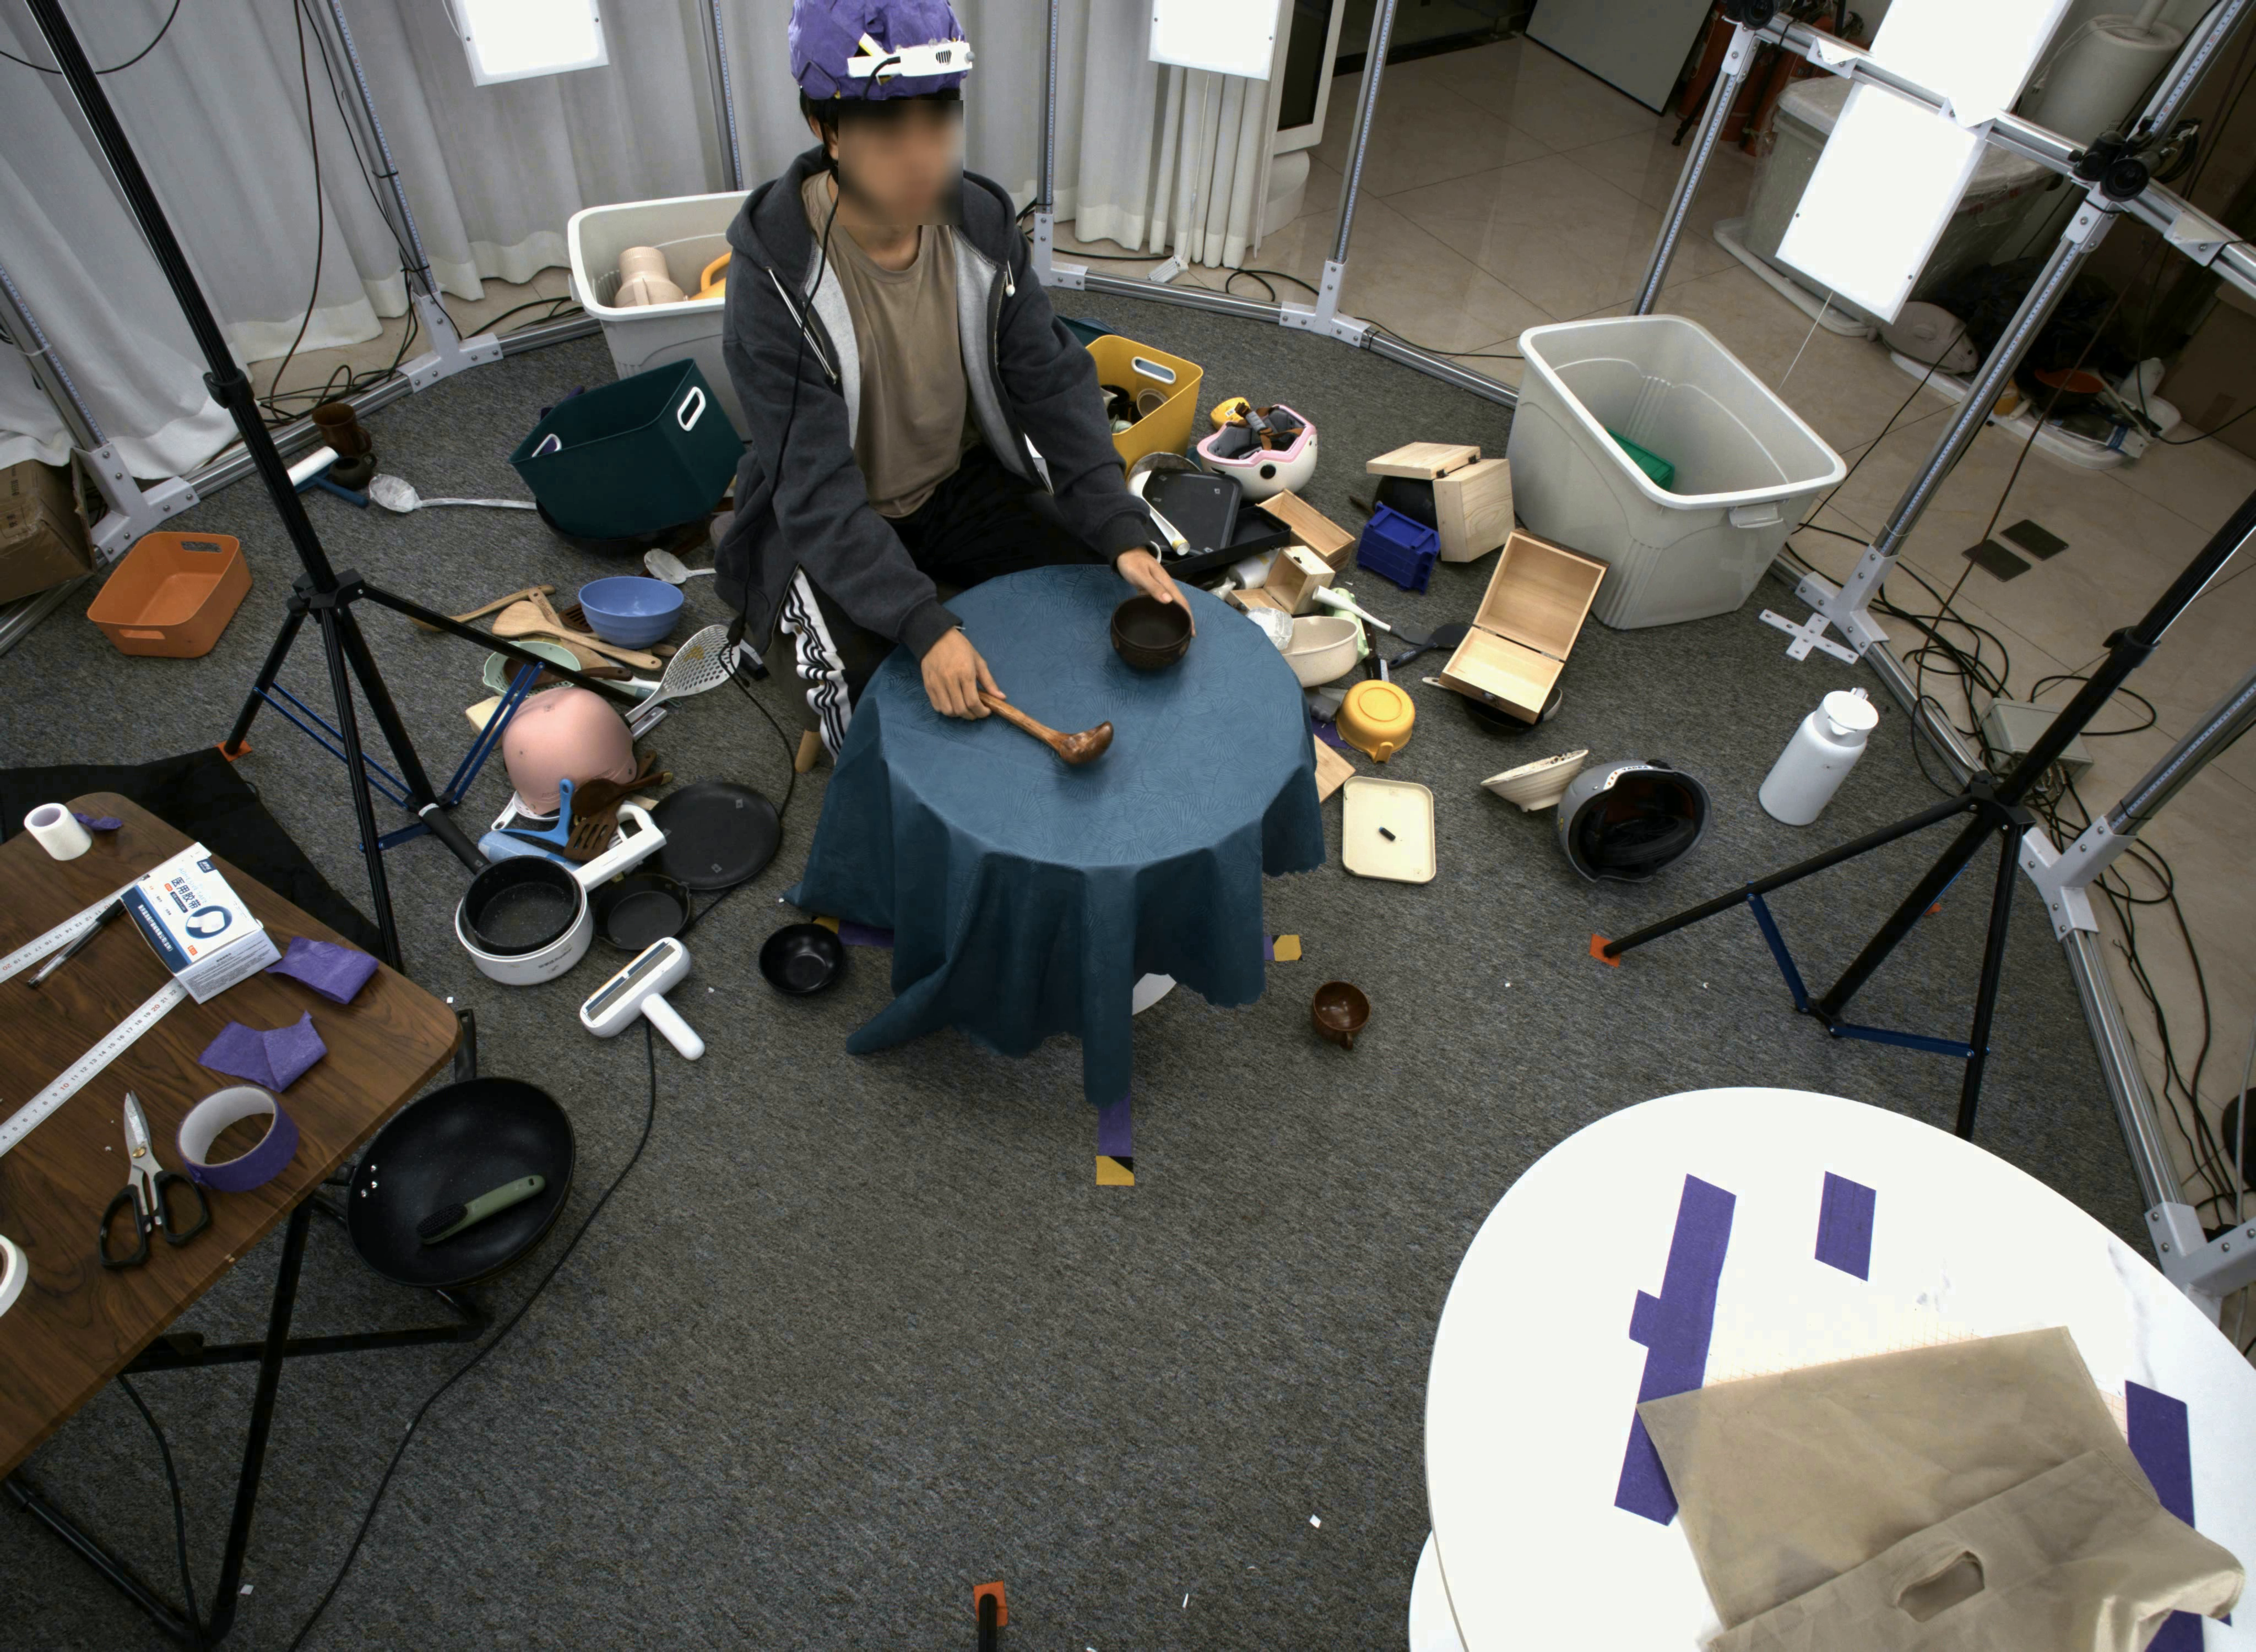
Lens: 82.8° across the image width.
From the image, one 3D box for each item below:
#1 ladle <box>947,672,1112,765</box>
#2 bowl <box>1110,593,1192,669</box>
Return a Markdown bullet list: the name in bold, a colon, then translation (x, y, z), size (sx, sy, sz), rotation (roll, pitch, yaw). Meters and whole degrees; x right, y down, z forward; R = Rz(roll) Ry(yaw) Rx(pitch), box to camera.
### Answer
- **ladle**: translation (-0.142, -0.163, 1.747), size (0.277, 0.075, 0.083), rotation (32, 51, 22)
- **bowl**: translation (0.033, -0.274, 1.859), size (0.118, 0.068, 0.121), rotation (2, 49, -2)
